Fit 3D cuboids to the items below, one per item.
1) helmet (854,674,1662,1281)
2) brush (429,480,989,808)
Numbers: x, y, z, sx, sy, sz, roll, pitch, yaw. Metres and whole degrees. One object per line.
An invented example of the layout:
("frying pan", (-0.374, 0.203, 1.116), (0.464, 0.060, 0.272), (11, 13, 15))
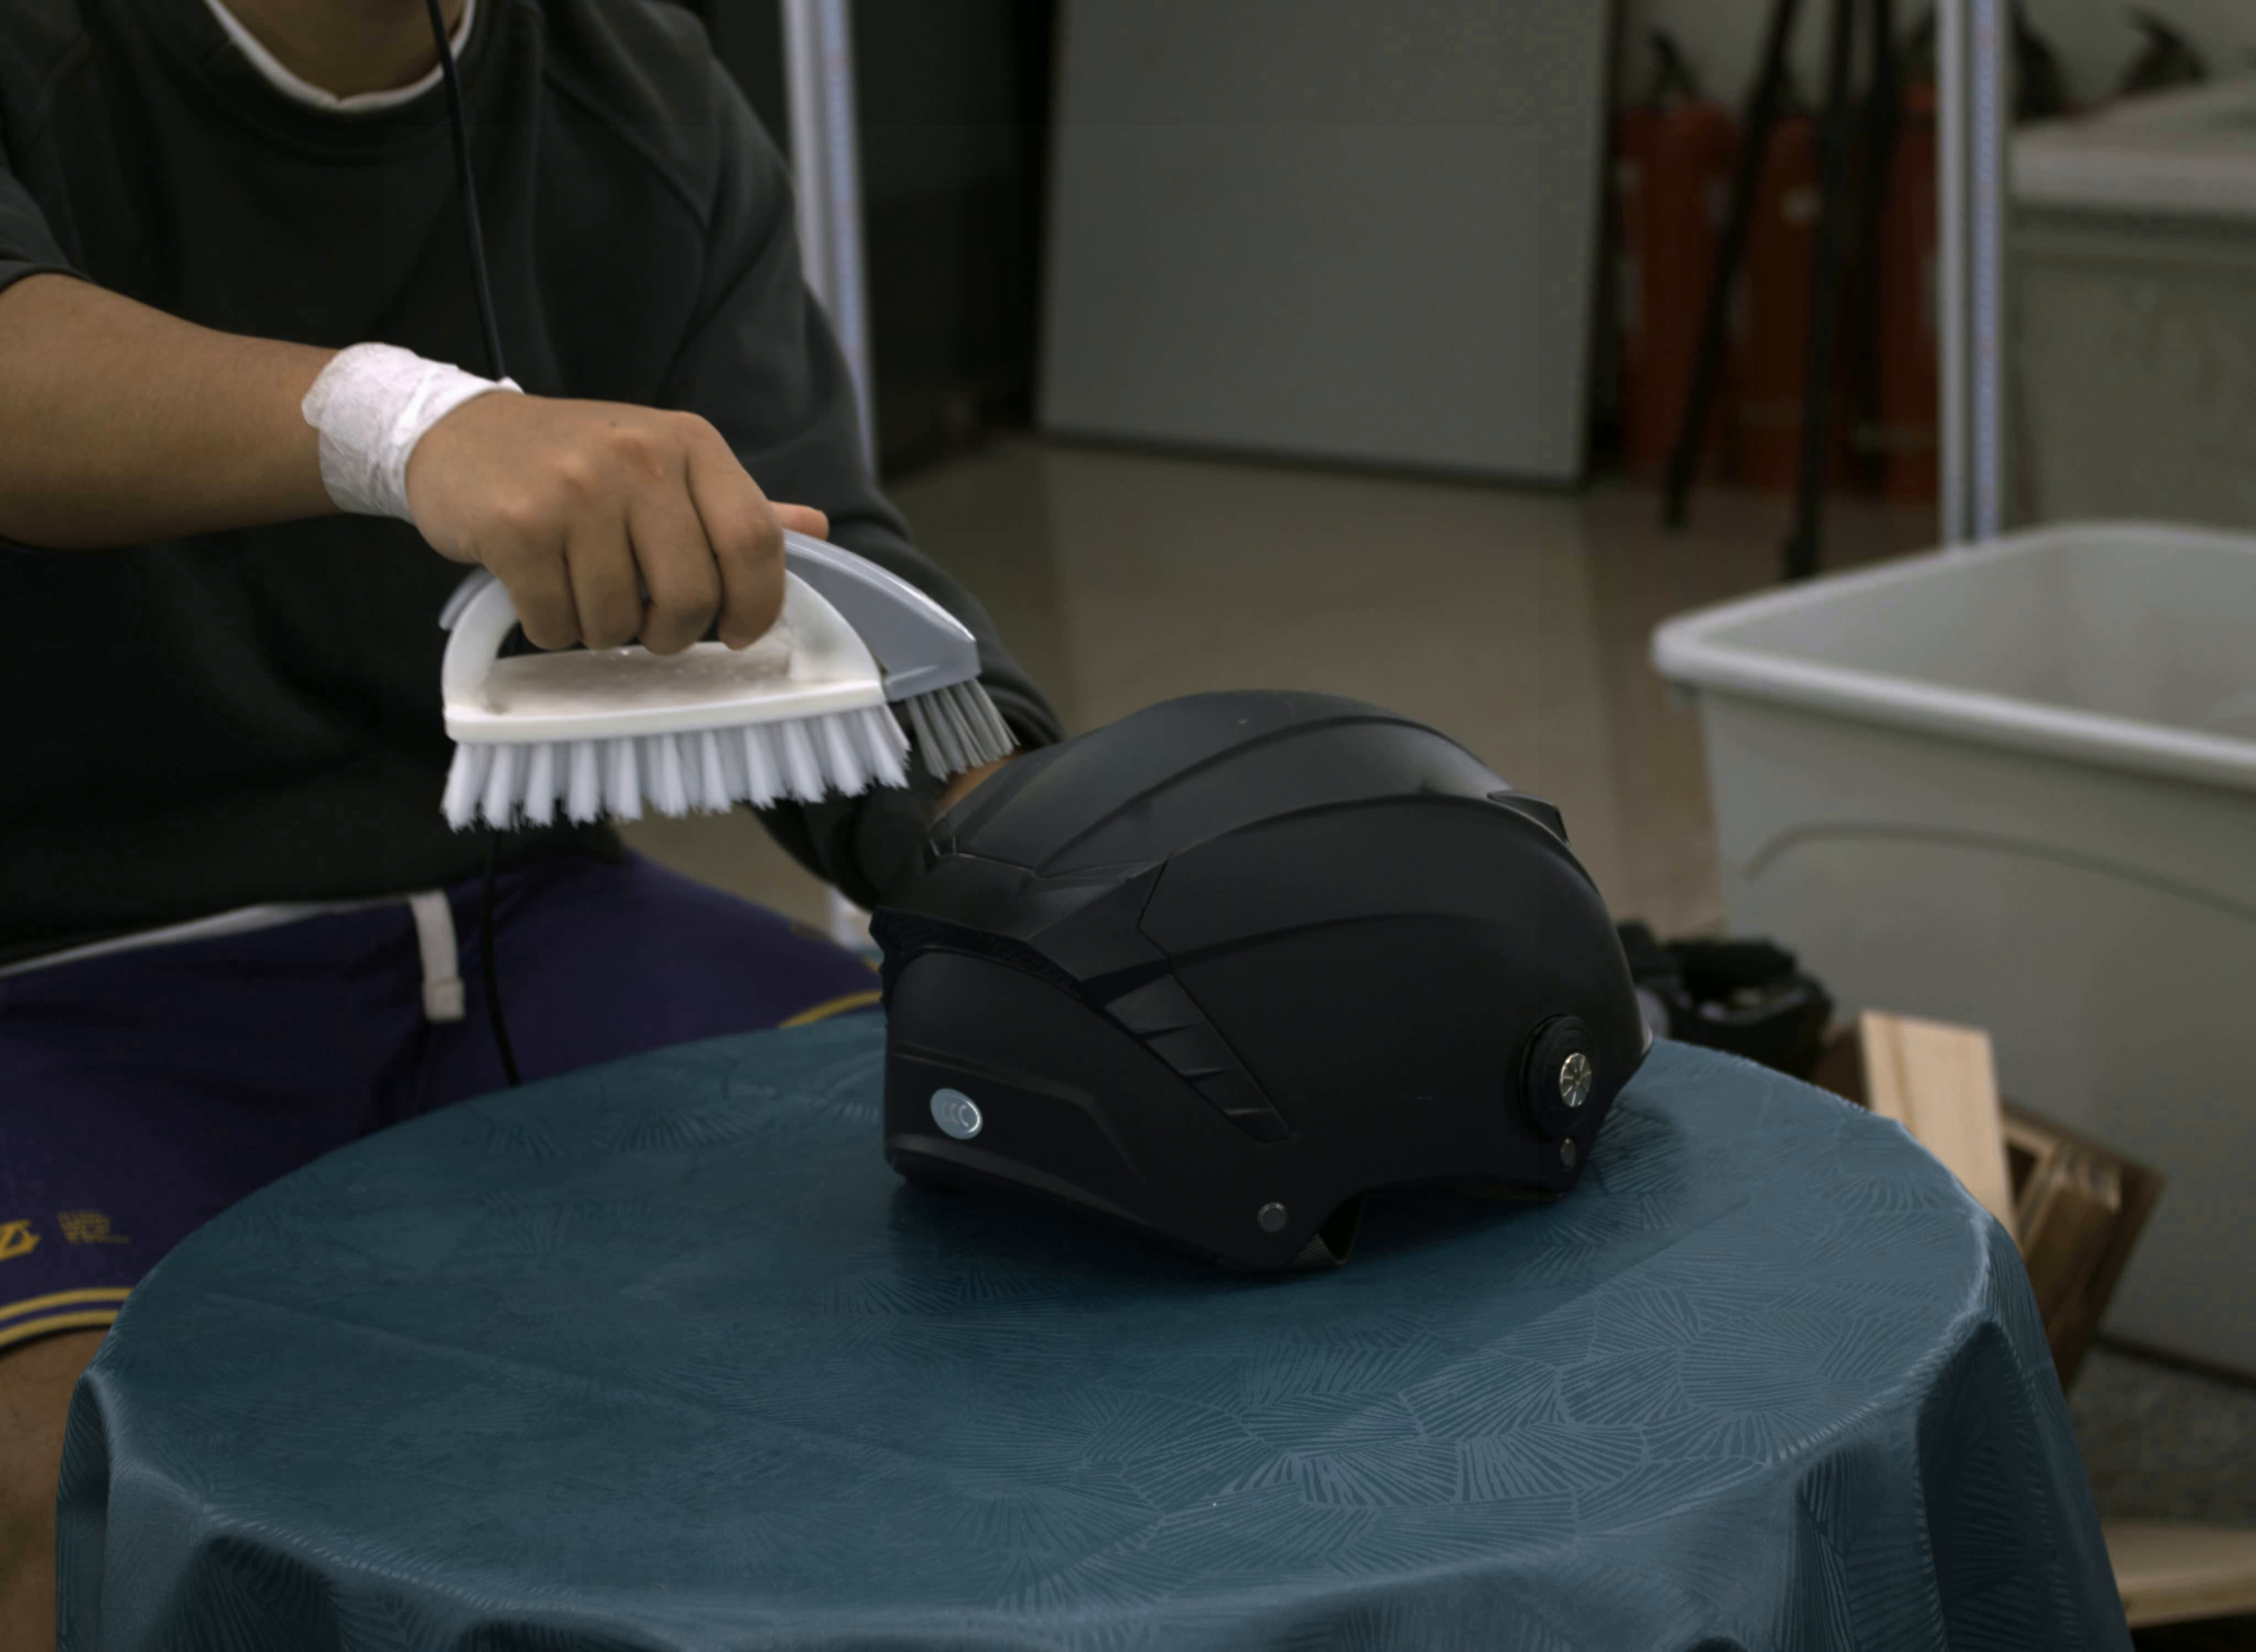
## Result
("helmet", (0.042, 0.037, 1.763), (0.271, 0.174, 0.249), (-21, 22, -38))
("brush", (-0.131, -0.061, 1.660), (0.173, 0.095, 0.061), (-1, 22, 3))
